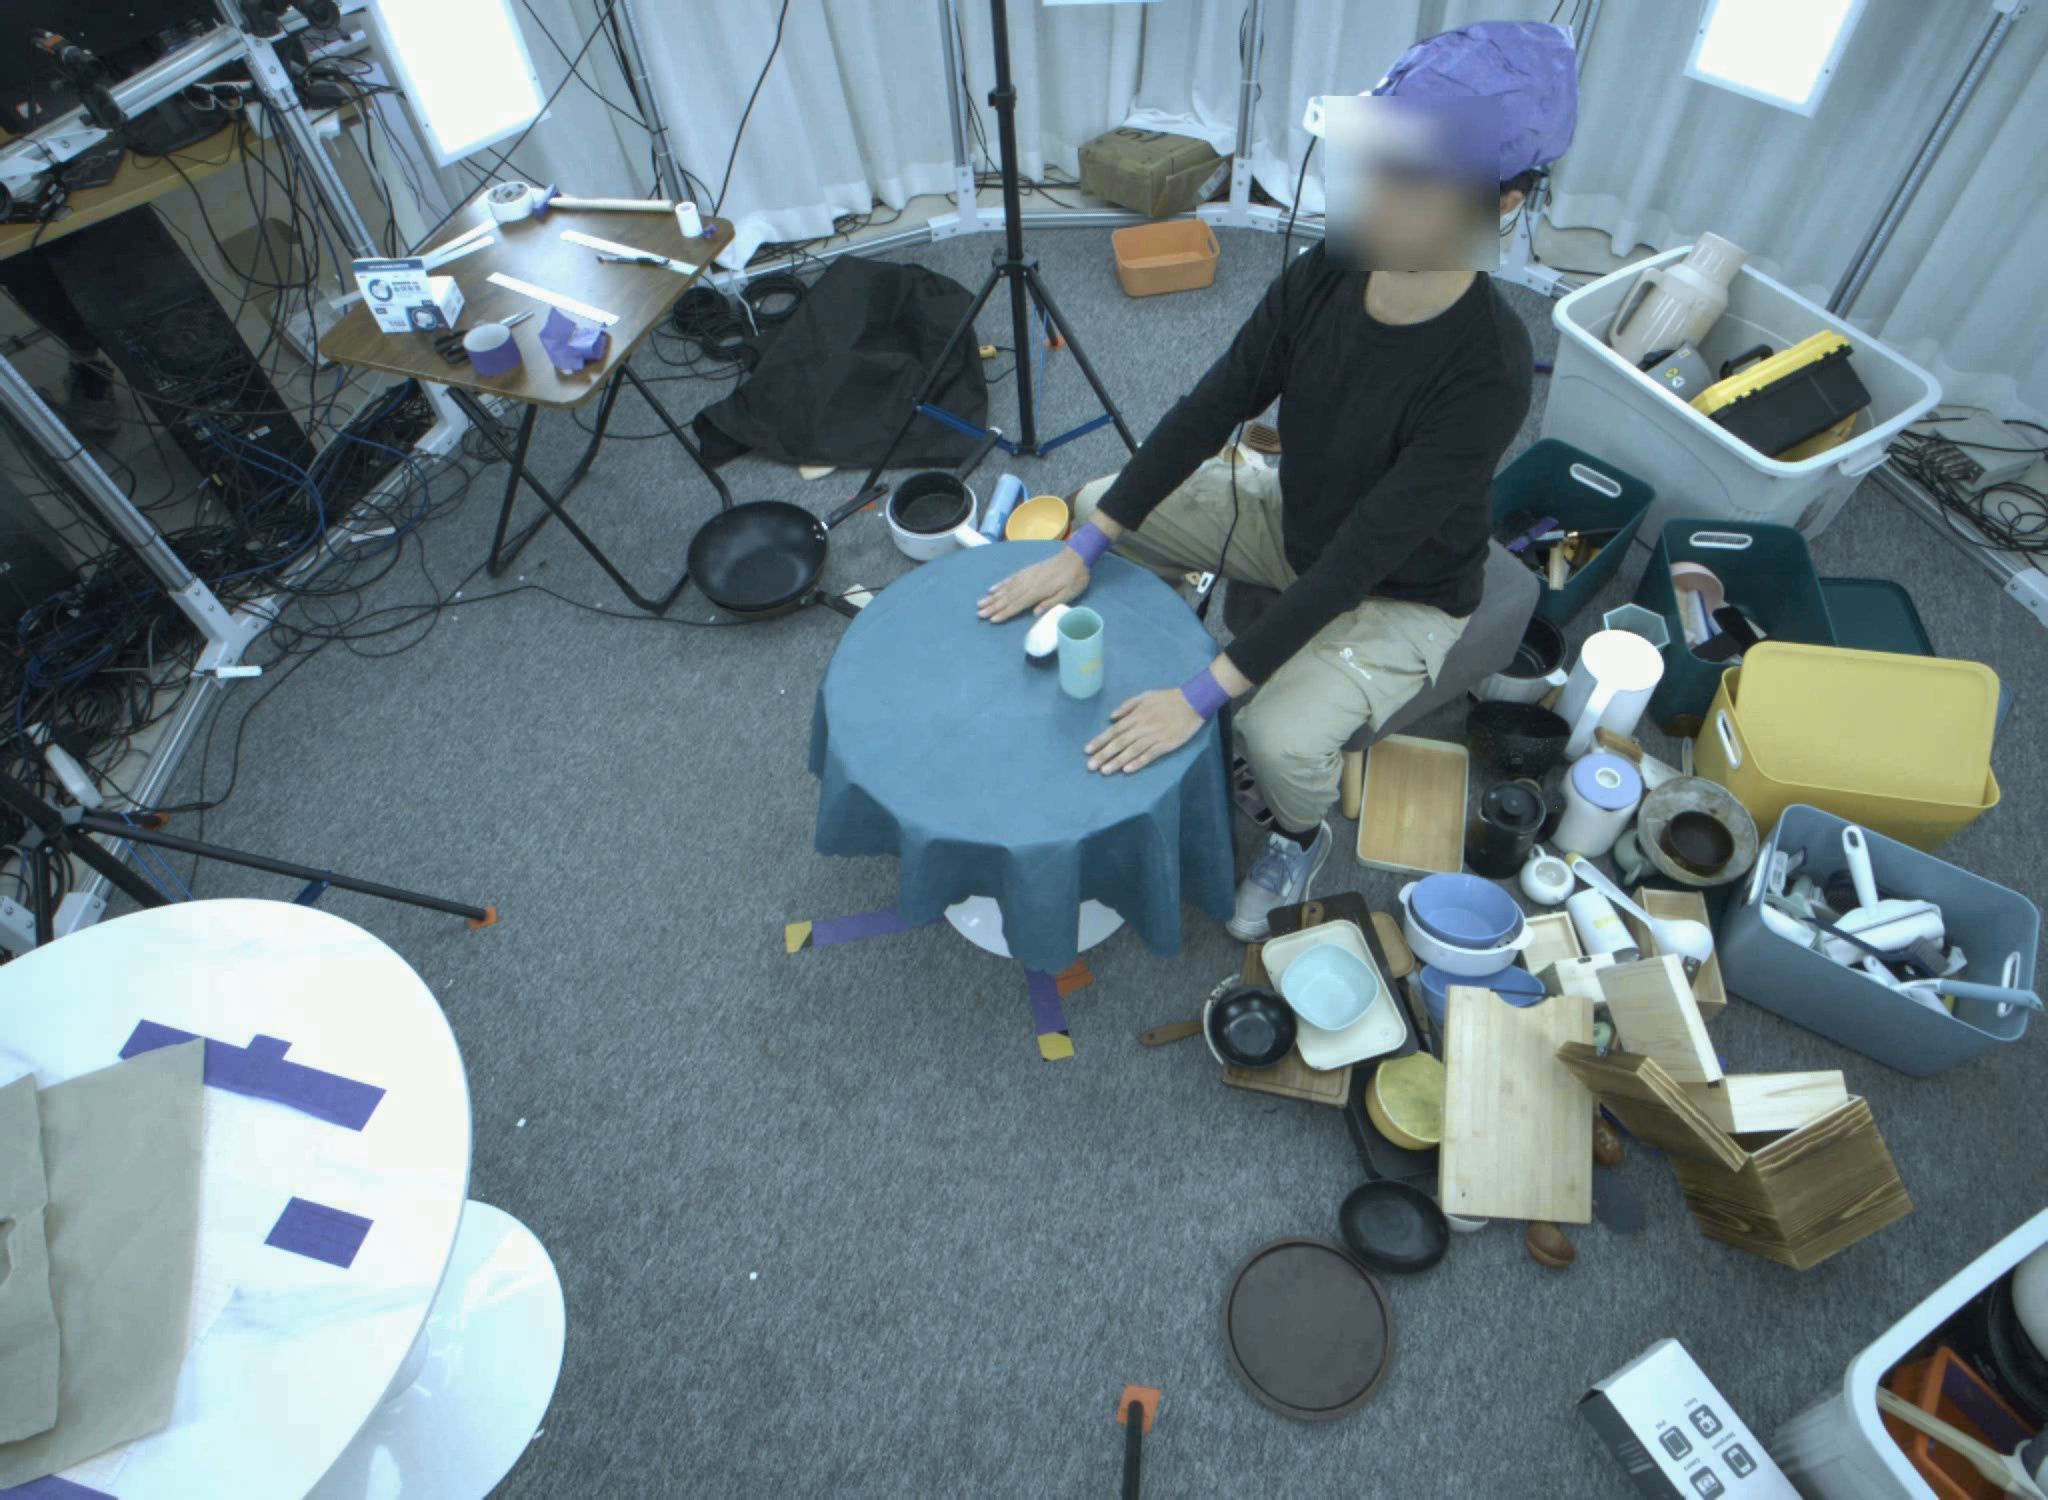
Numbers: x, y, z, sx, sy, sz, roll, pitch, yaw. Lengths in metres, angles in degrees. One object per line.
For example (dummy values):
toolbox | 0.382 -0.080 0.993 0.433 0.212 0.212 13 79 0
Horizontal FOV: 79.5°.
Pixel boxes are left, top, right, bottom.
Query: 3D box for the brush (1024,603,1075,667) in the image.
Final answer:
brush | 0.040 -0.183 1.872 0.049 0.073 0.100 37 65 24

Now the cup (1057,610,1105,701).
cup | 0.084 -0.139 1.810 0.066 0.134 0.066 -2 55 4
